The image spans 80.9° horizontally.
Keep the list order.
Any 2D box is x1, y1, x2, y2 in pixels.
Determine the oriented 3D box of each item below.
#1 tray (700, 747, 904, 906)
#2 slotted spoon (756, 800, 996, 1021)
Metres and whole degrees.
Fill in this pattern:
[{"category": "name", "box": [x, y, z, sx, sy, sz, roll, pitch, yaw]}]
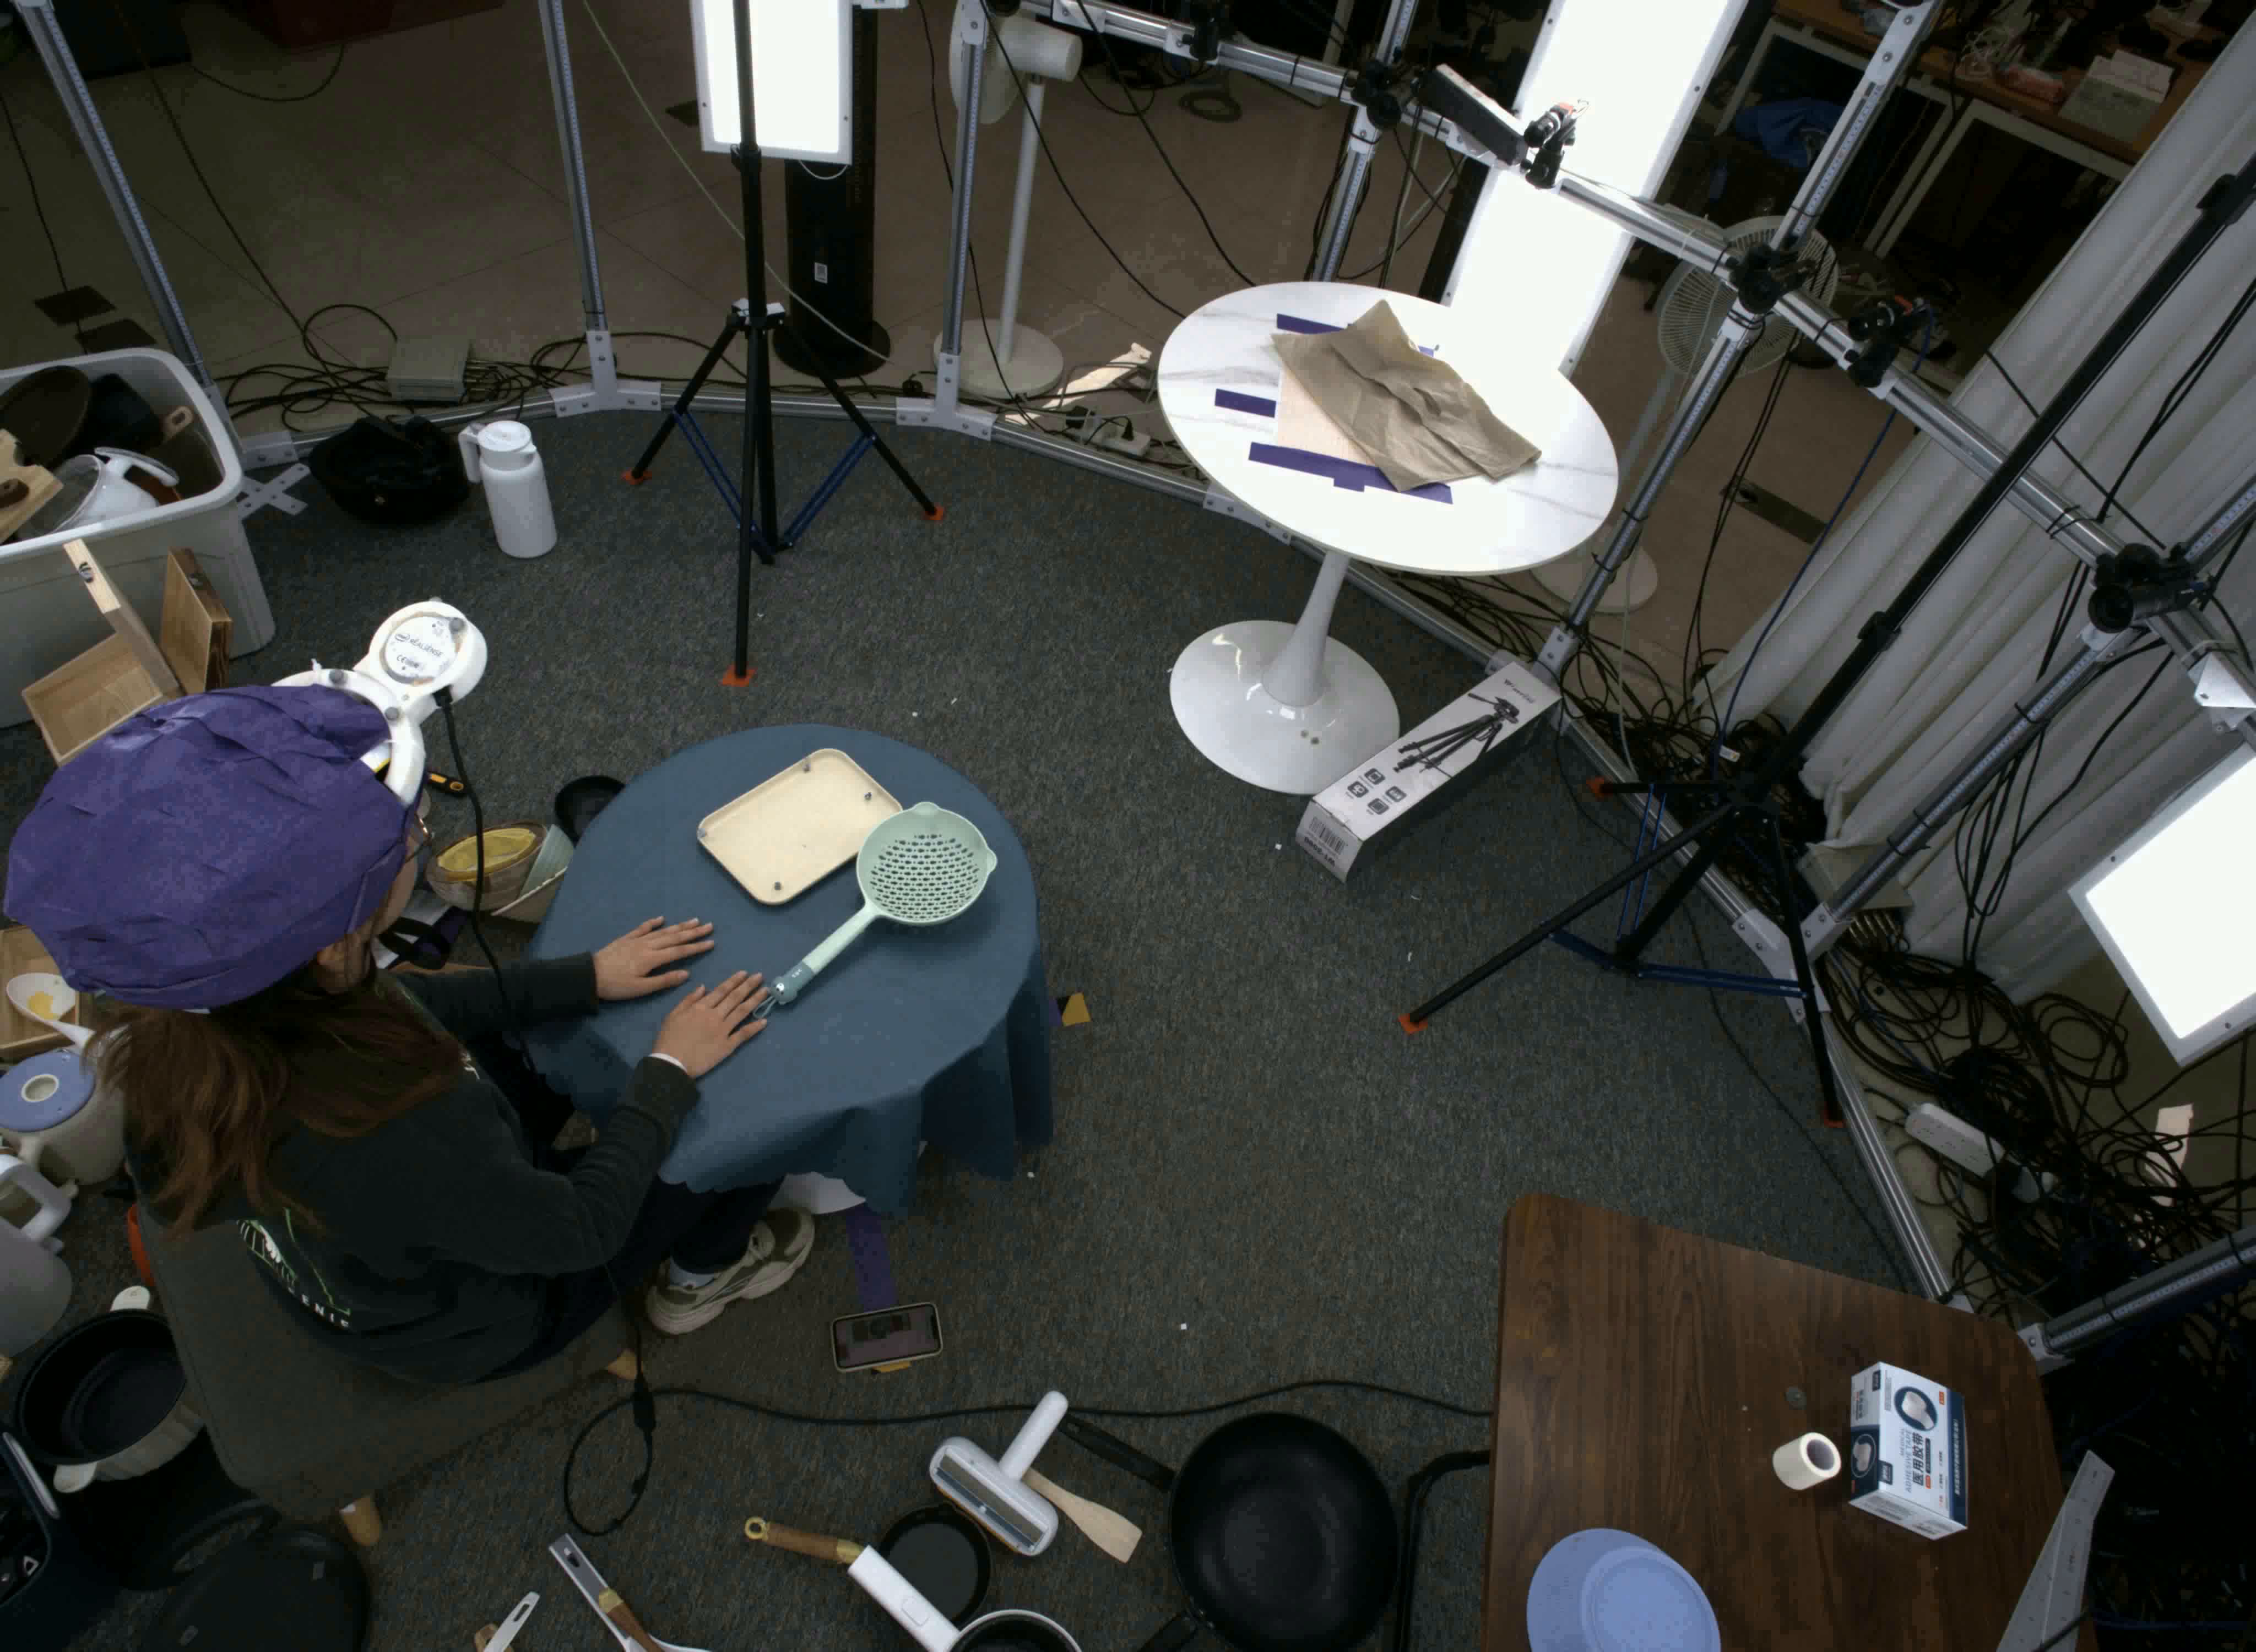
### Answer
[{"category": "tray", "box": [-0.429, -0.002, 1.719, 0.167, 0.018, 0.240, 41, 56, 17]}, {"category": "slotted spoon", "box": [-0.326, 0.112, 1.631, 0.165, 0.077, 0.359, 38, 55, 16]}]
